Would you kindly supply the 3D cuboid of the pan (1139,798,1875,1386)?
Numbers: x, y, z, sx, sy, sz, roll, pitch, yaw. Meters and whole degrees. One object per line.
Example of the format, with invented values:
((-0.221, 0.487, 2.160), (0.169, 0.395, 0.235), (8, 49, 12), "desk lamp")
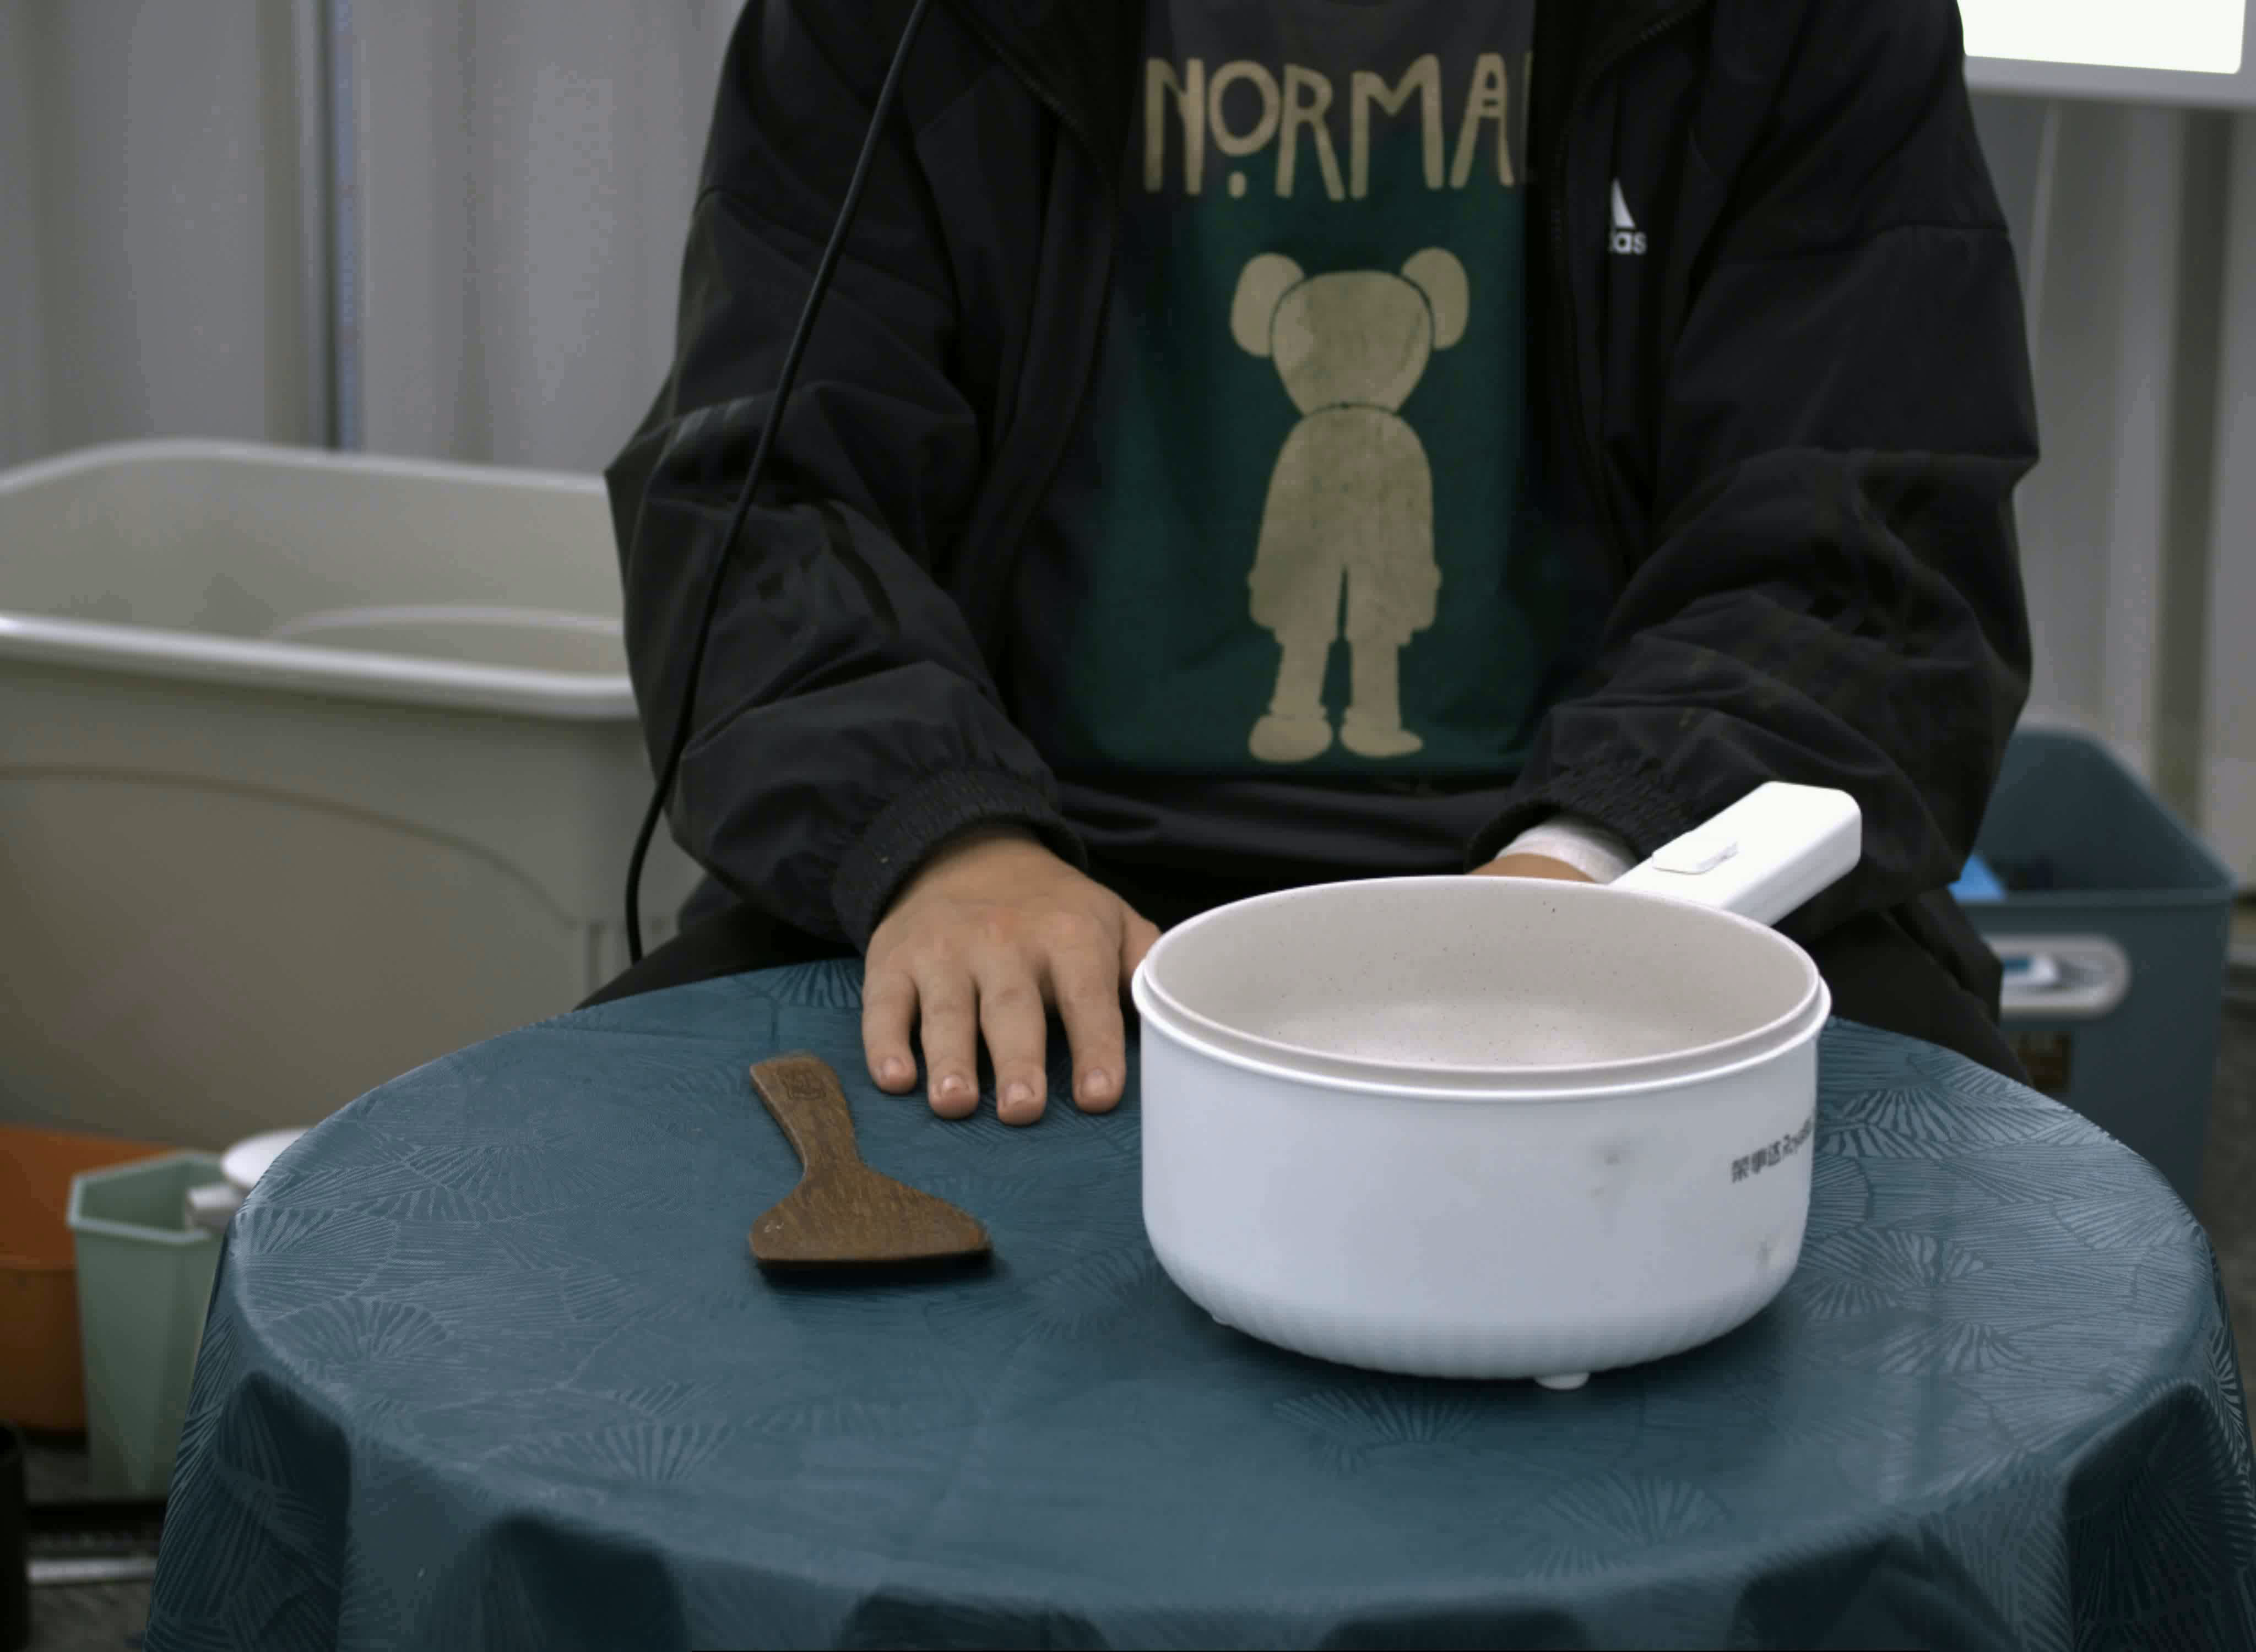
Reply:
((0.139, 0.073, 1.590), (0.199, 0.103, 0.356), (8, 16, 27), "pan")

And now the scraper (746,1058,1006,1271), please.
((-0.091, 0.104, 1.635), (0.076, 0.011, 0.209), (-2, 15, -11), "scraper")
